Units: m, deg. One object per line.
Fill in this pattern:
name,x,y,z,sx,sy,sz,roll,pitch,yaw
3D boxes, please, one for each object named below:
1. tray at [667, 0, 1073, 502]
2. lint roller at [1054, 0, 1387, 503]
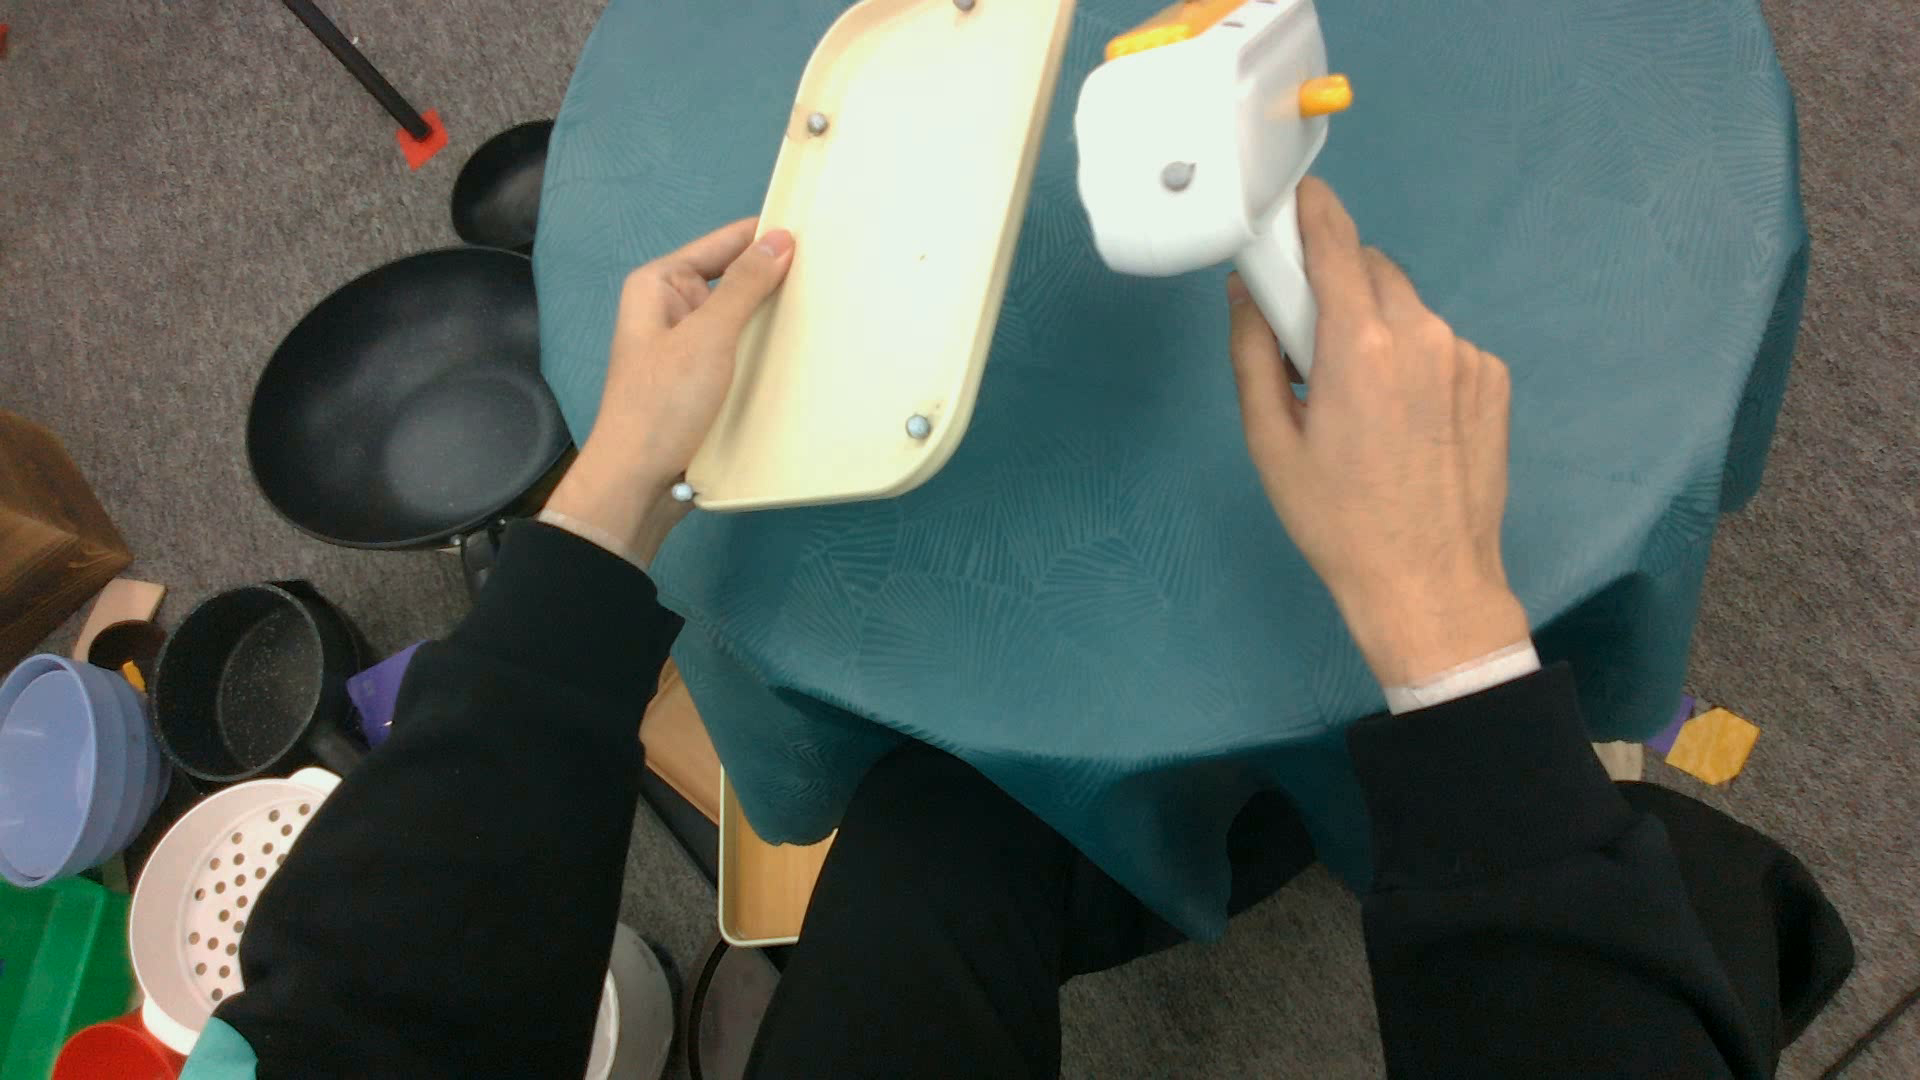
tray,-0.035,-0.126,0.542,0.171,0.017,0.240,-1,68,46
lint roller,0.103,-0.096,0.490,0.074,0.192,0.194,-11,24,22
